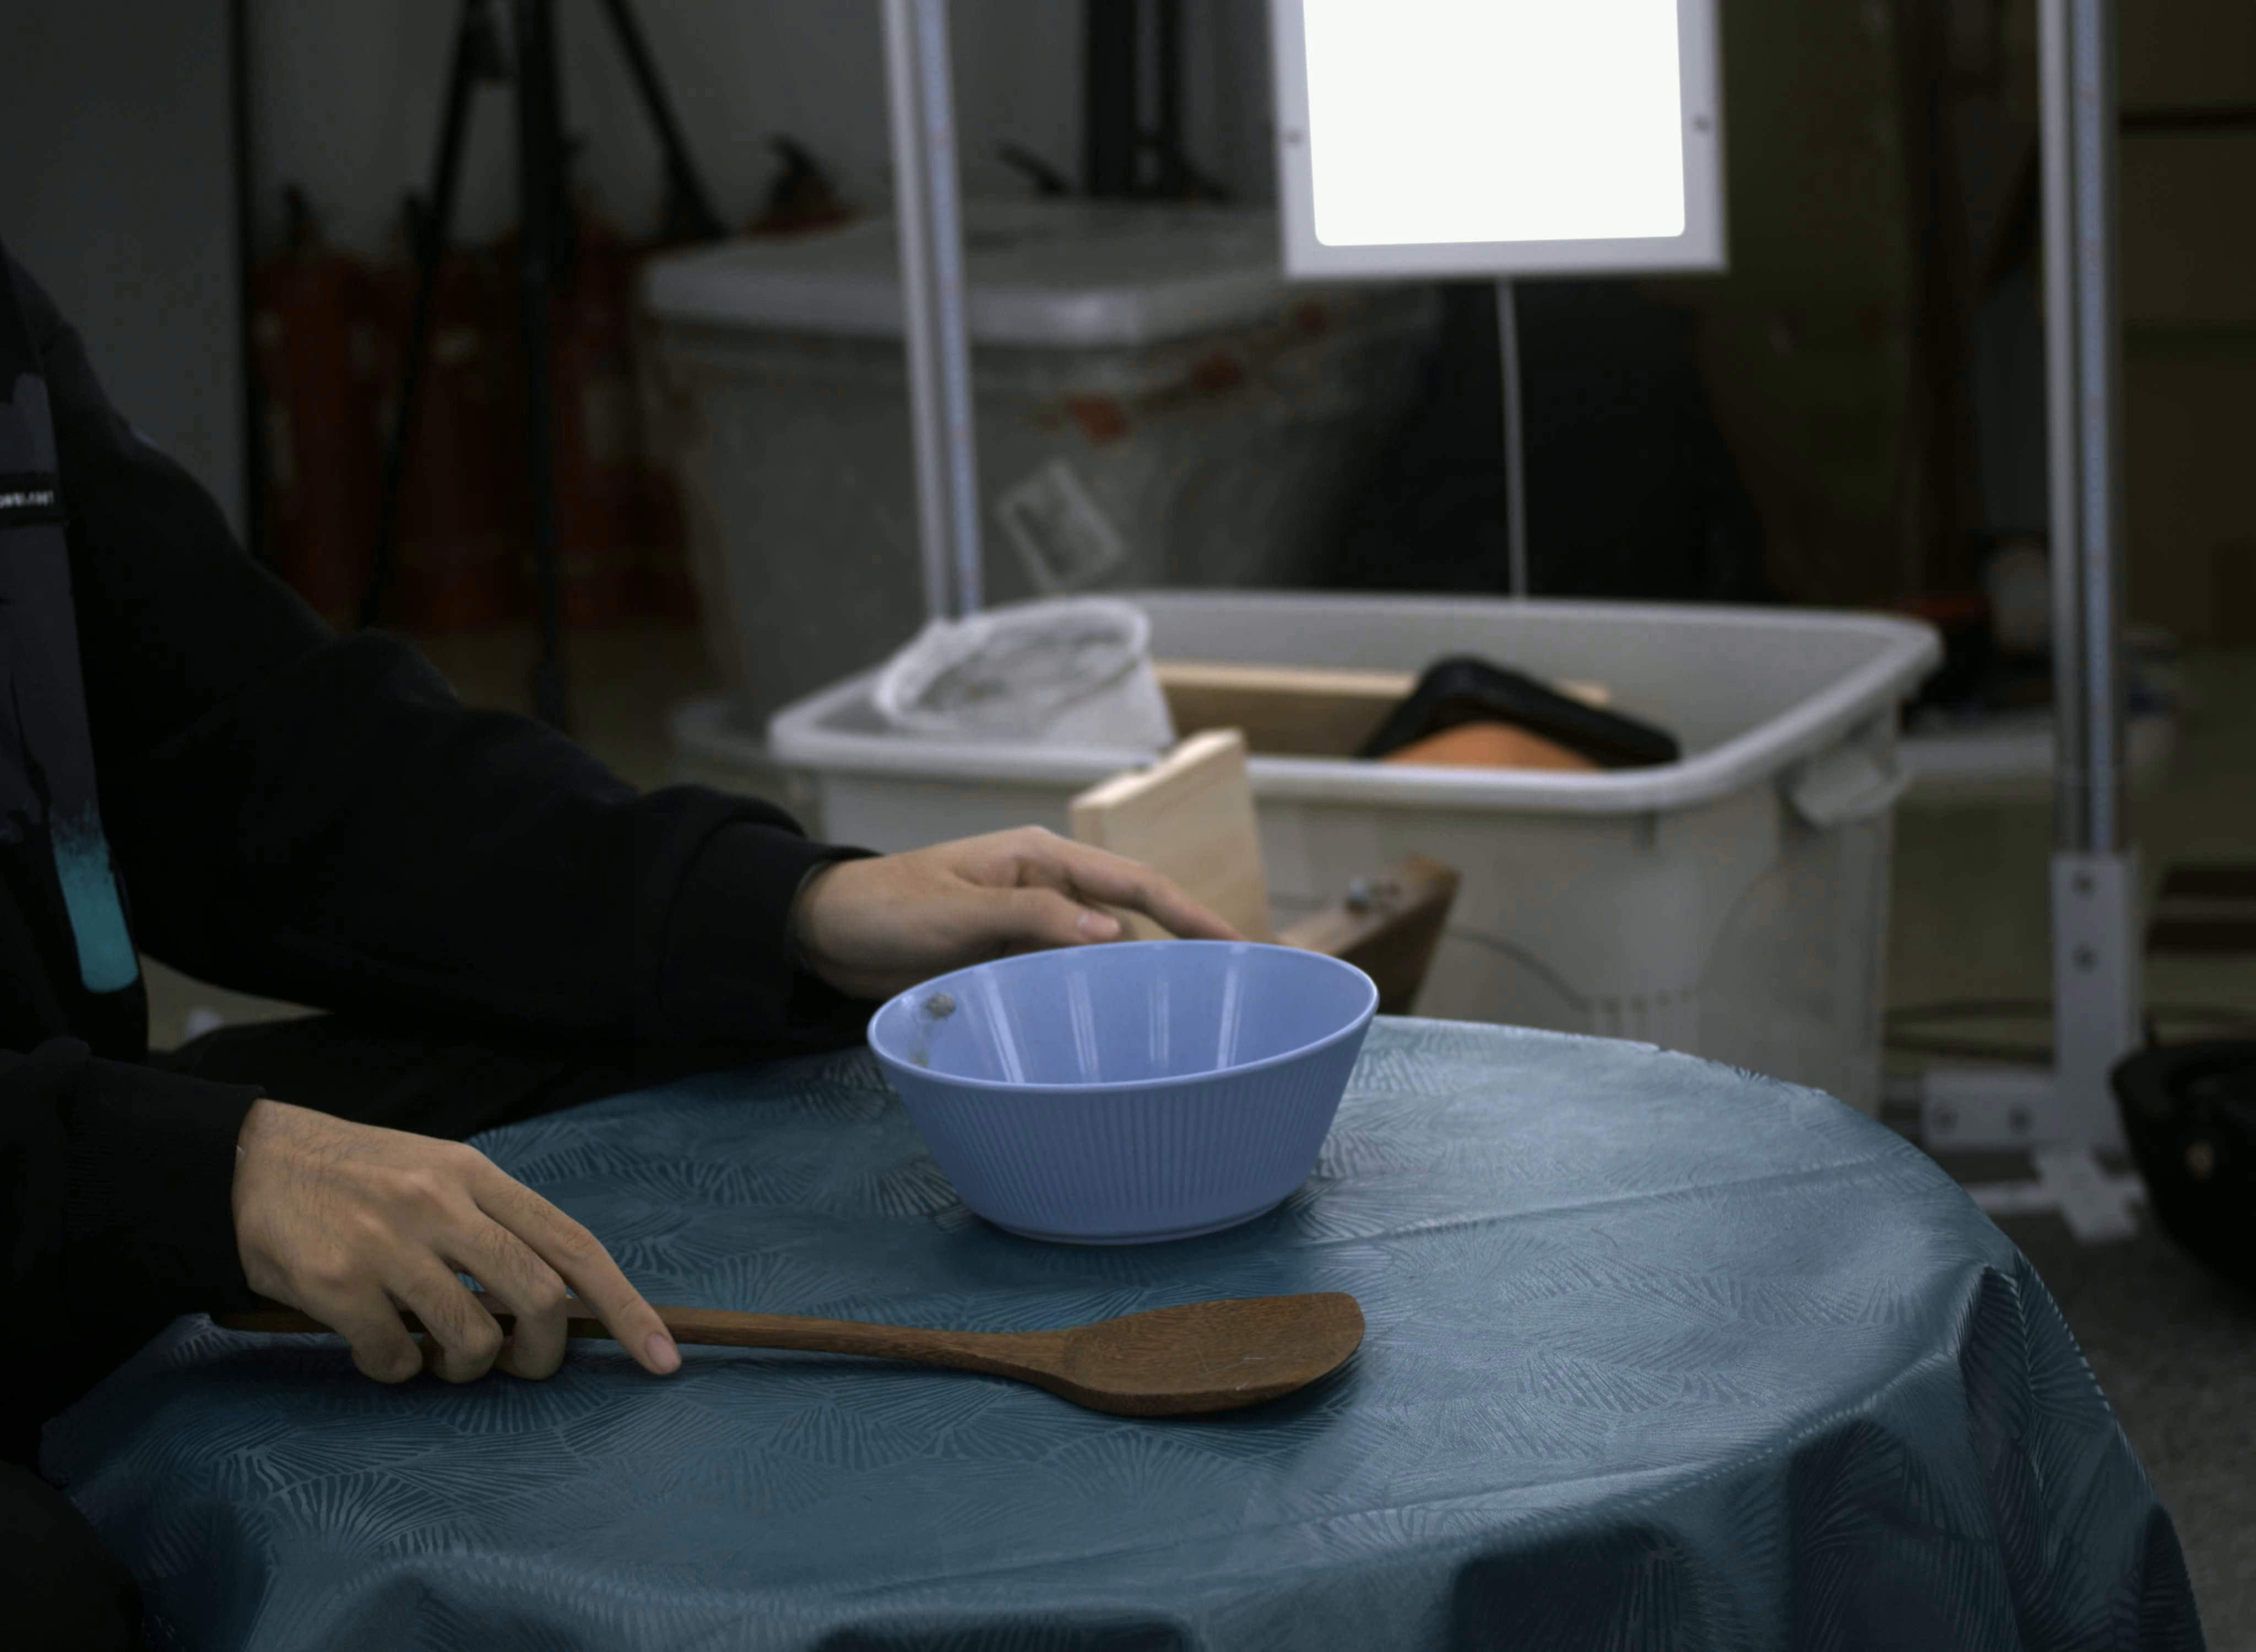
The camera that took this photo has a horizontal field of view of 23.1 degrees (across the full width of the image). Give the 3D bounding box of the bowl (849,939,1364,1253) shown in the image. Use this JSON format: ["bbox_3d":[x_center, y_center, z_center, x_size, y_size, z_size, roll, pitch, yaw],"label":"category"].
[{"bbox_3d":[-0.006,0.095,1.877,0.175,0.070,0.176,-3,16,-1],"label":"bowl"}]

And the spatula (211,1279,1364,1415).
[{"bbox_3d":[-0.115,0.161,1.754,0.390,0.016,0.094,2,15,18],"label":"spatula"}]
